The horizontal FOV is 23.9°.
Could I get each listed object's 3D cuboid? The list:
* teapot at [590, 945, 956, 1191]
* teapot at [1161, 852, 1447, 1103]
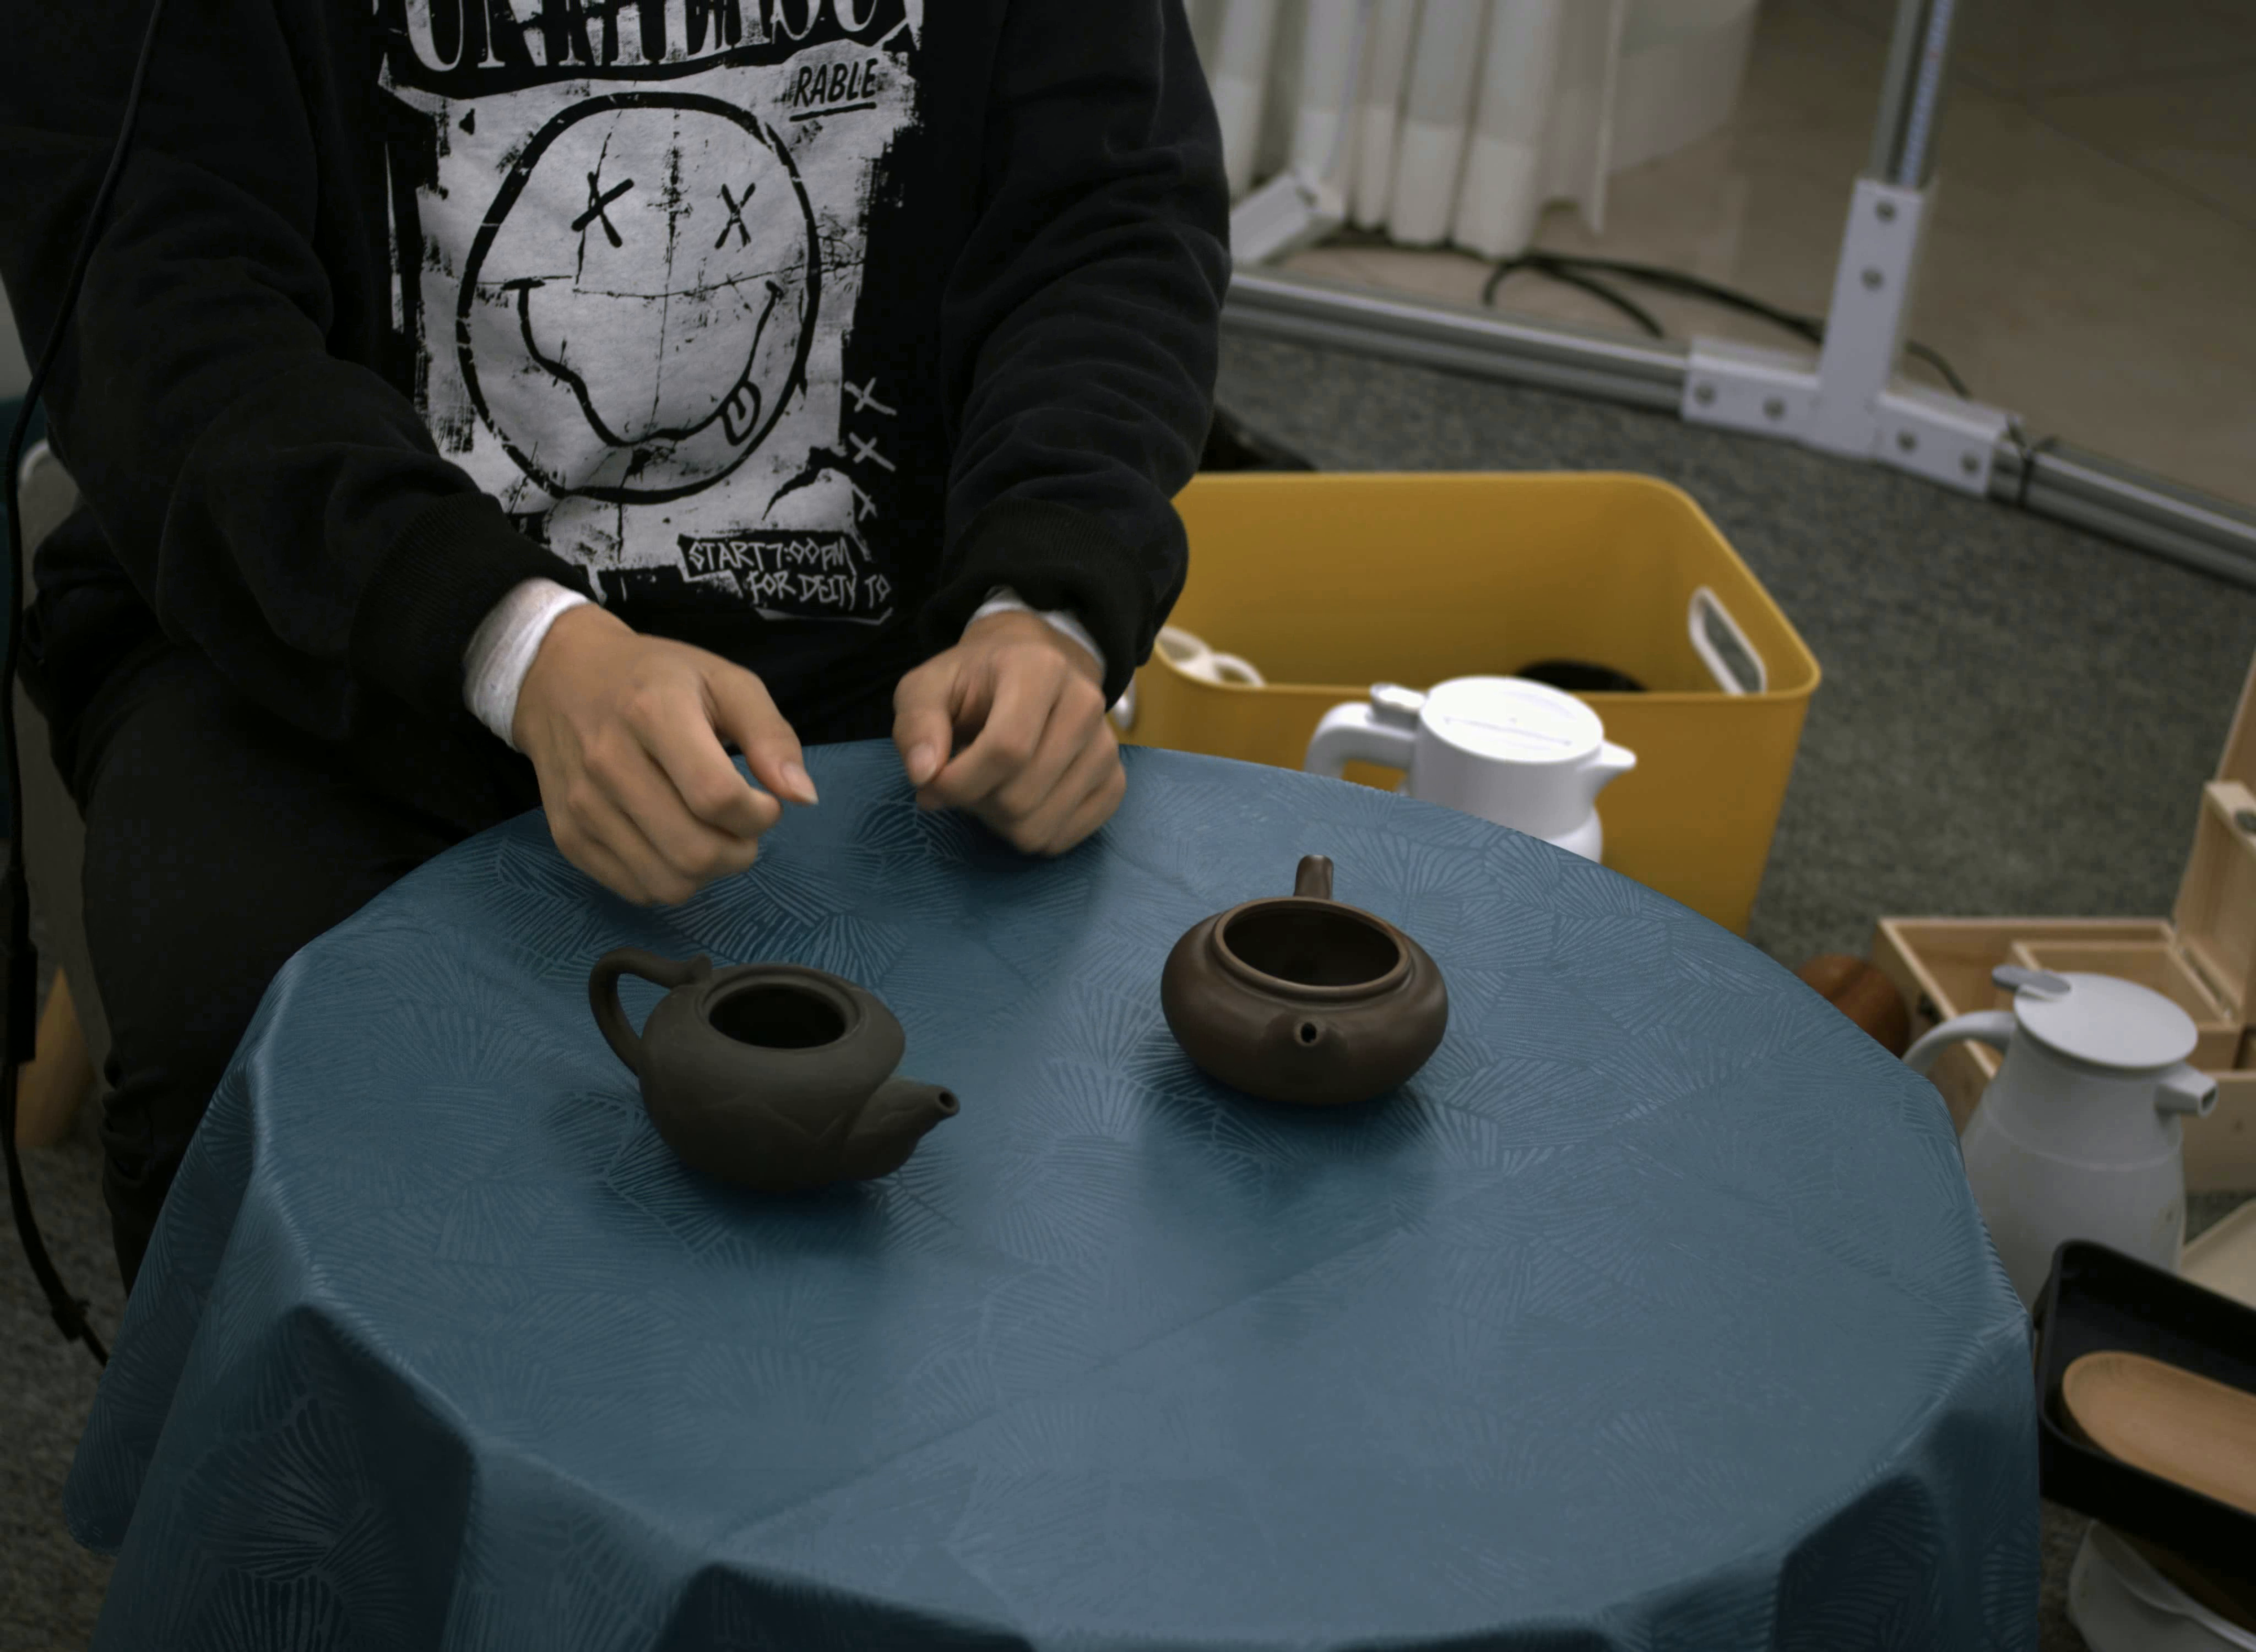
[{"bbox_3d":[-0.122,0.083,1.789,0.155,0.064,0.092,24,29,29],"label":"teapot"},{"bbox_3d":[0.062,0.057,1.889,0.102,0.053,0.154,6,27,-6],"label":"teapot"}]
